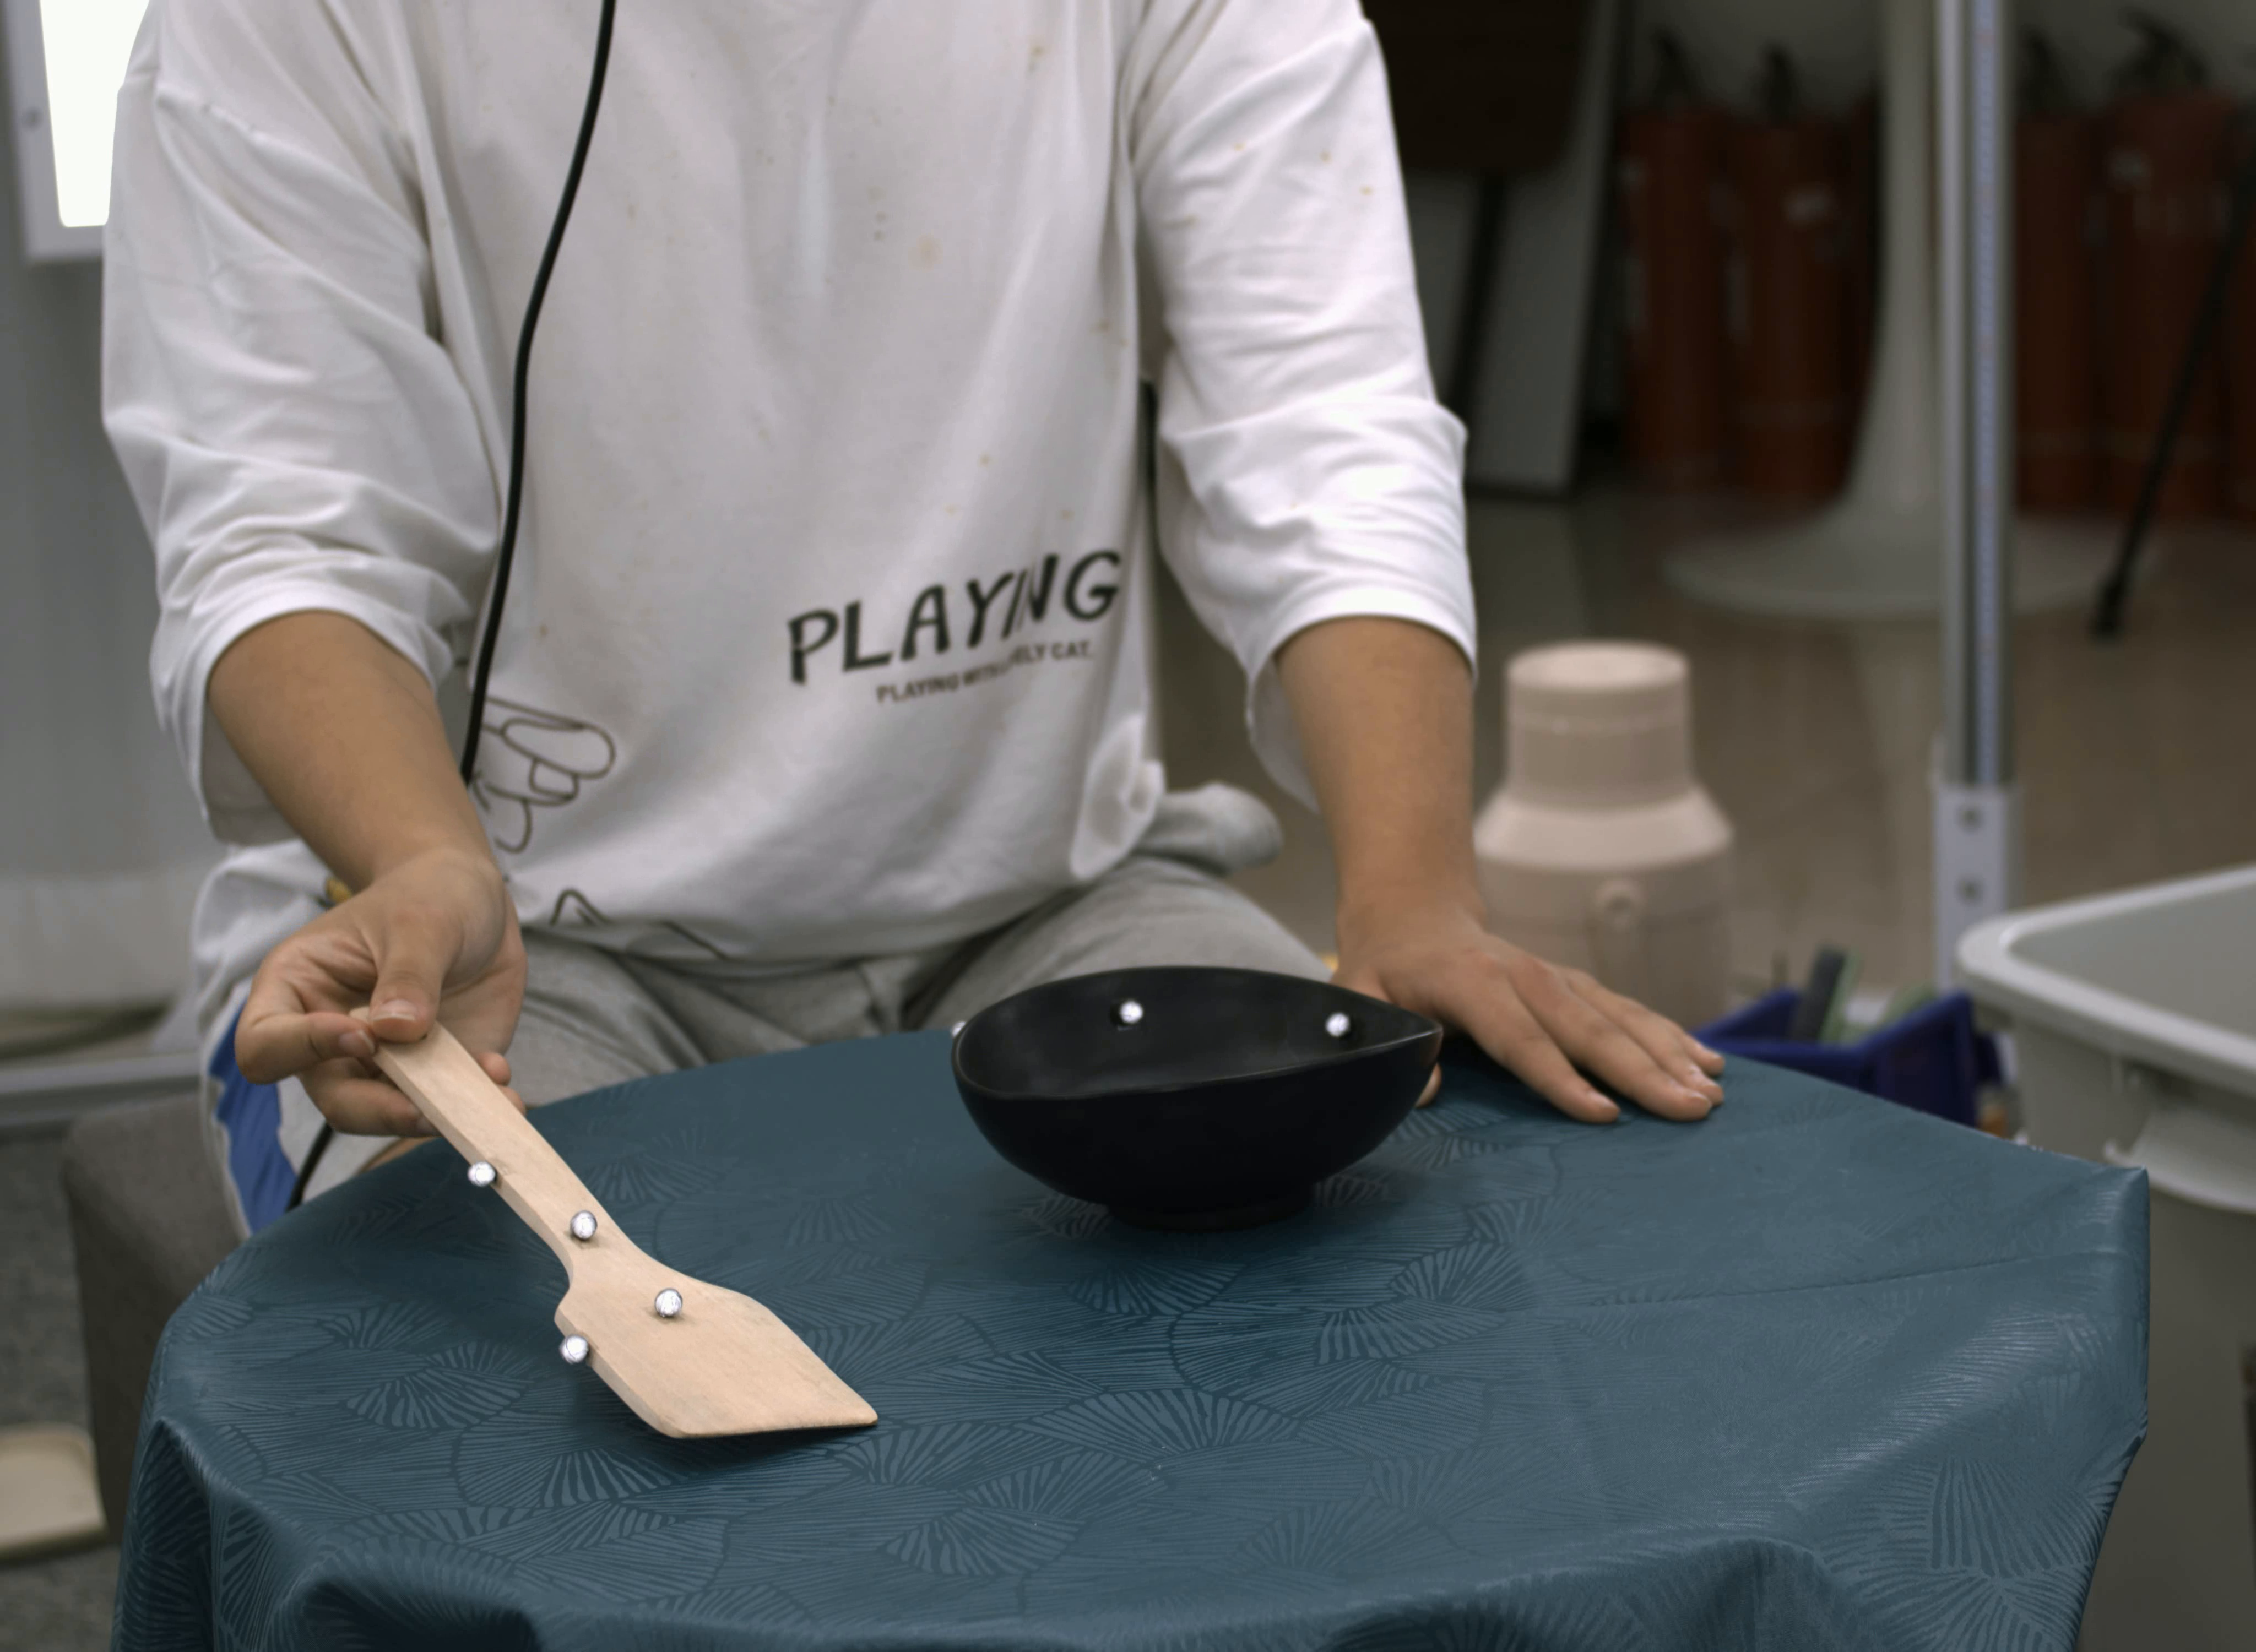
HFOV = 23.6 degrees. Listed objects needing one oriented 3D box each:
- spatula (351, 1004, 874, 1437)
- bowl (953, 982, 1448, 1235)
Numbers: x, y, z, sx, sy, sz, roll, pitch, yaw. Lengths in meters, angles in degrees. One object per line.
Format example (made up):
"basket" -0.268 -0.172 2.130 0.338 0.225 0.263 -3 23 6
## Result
"spatula" -0.174 0.118 1.669 0.070 0.011 0.296 0 23 -32
"bowl" 0.024 0.093 1.751 0.166 0.067 0.139 -9 13 -29
